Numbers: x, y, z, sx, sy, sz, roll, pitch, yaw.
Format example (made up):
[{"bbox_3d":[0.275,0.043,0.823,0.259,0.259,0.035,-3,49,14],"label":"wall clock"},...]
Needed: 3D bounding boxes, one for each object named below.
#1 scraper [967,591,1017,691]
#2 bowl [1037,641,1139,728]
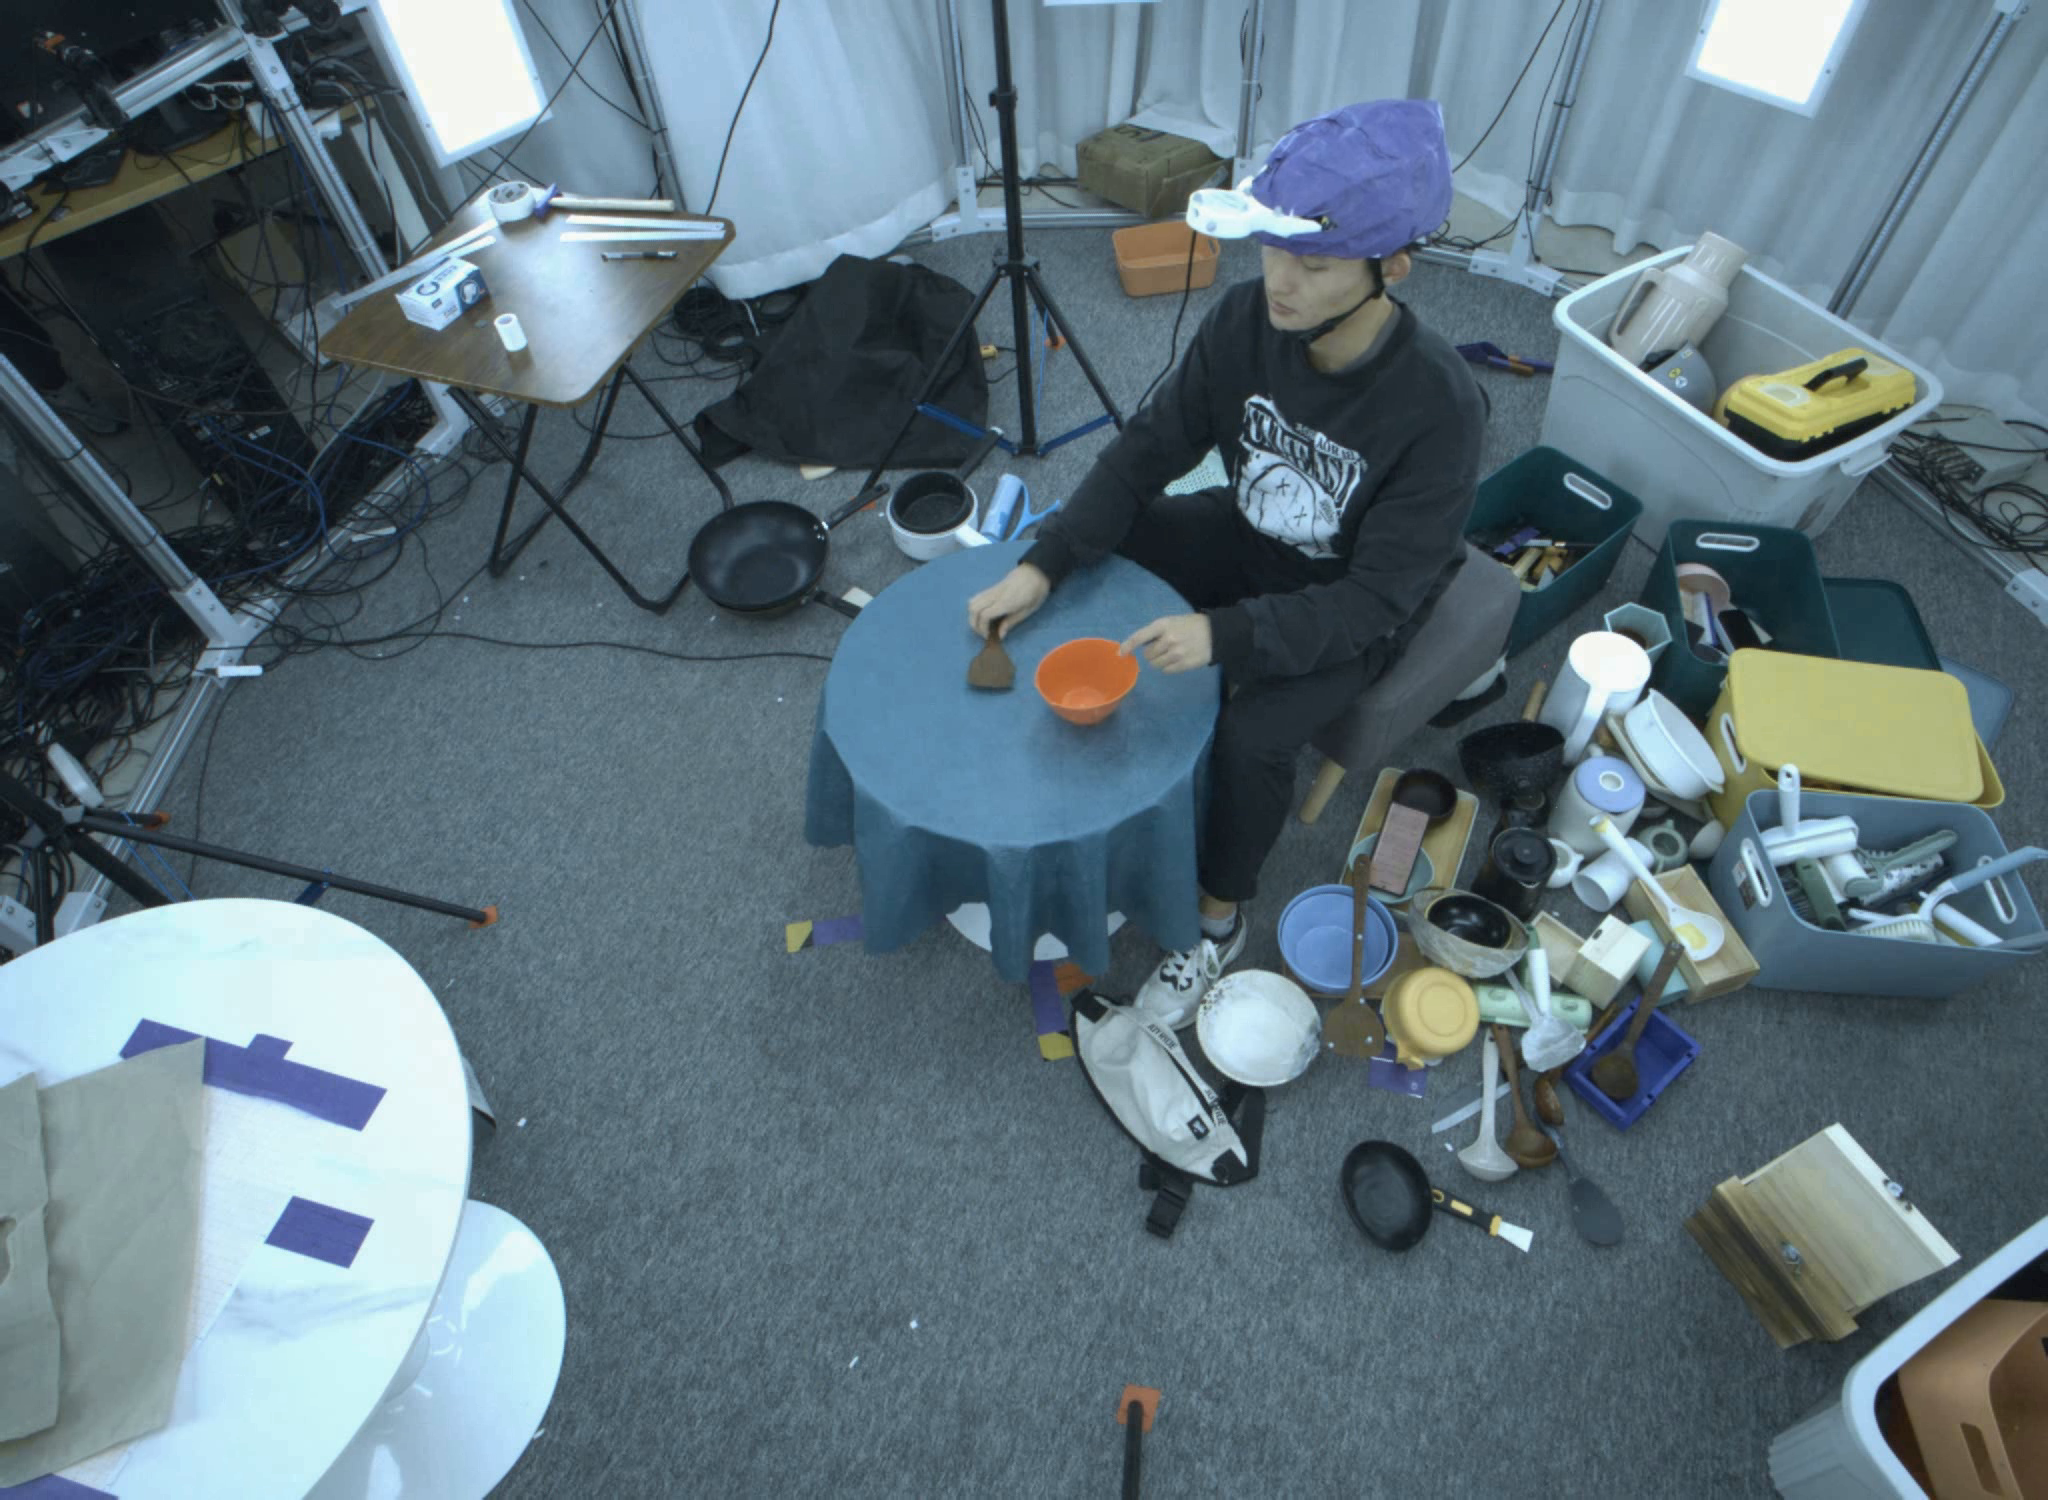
[{"bbox_3d":[-0.045,-0.171,1.912,0.076,0.011,0.209,6,53,-4],"label":"scraper"},{"bbox_3d":[0.093,-0.081,1.790,0.148,0.106,0.146,-1,55,3],"label":"bowl"}]
